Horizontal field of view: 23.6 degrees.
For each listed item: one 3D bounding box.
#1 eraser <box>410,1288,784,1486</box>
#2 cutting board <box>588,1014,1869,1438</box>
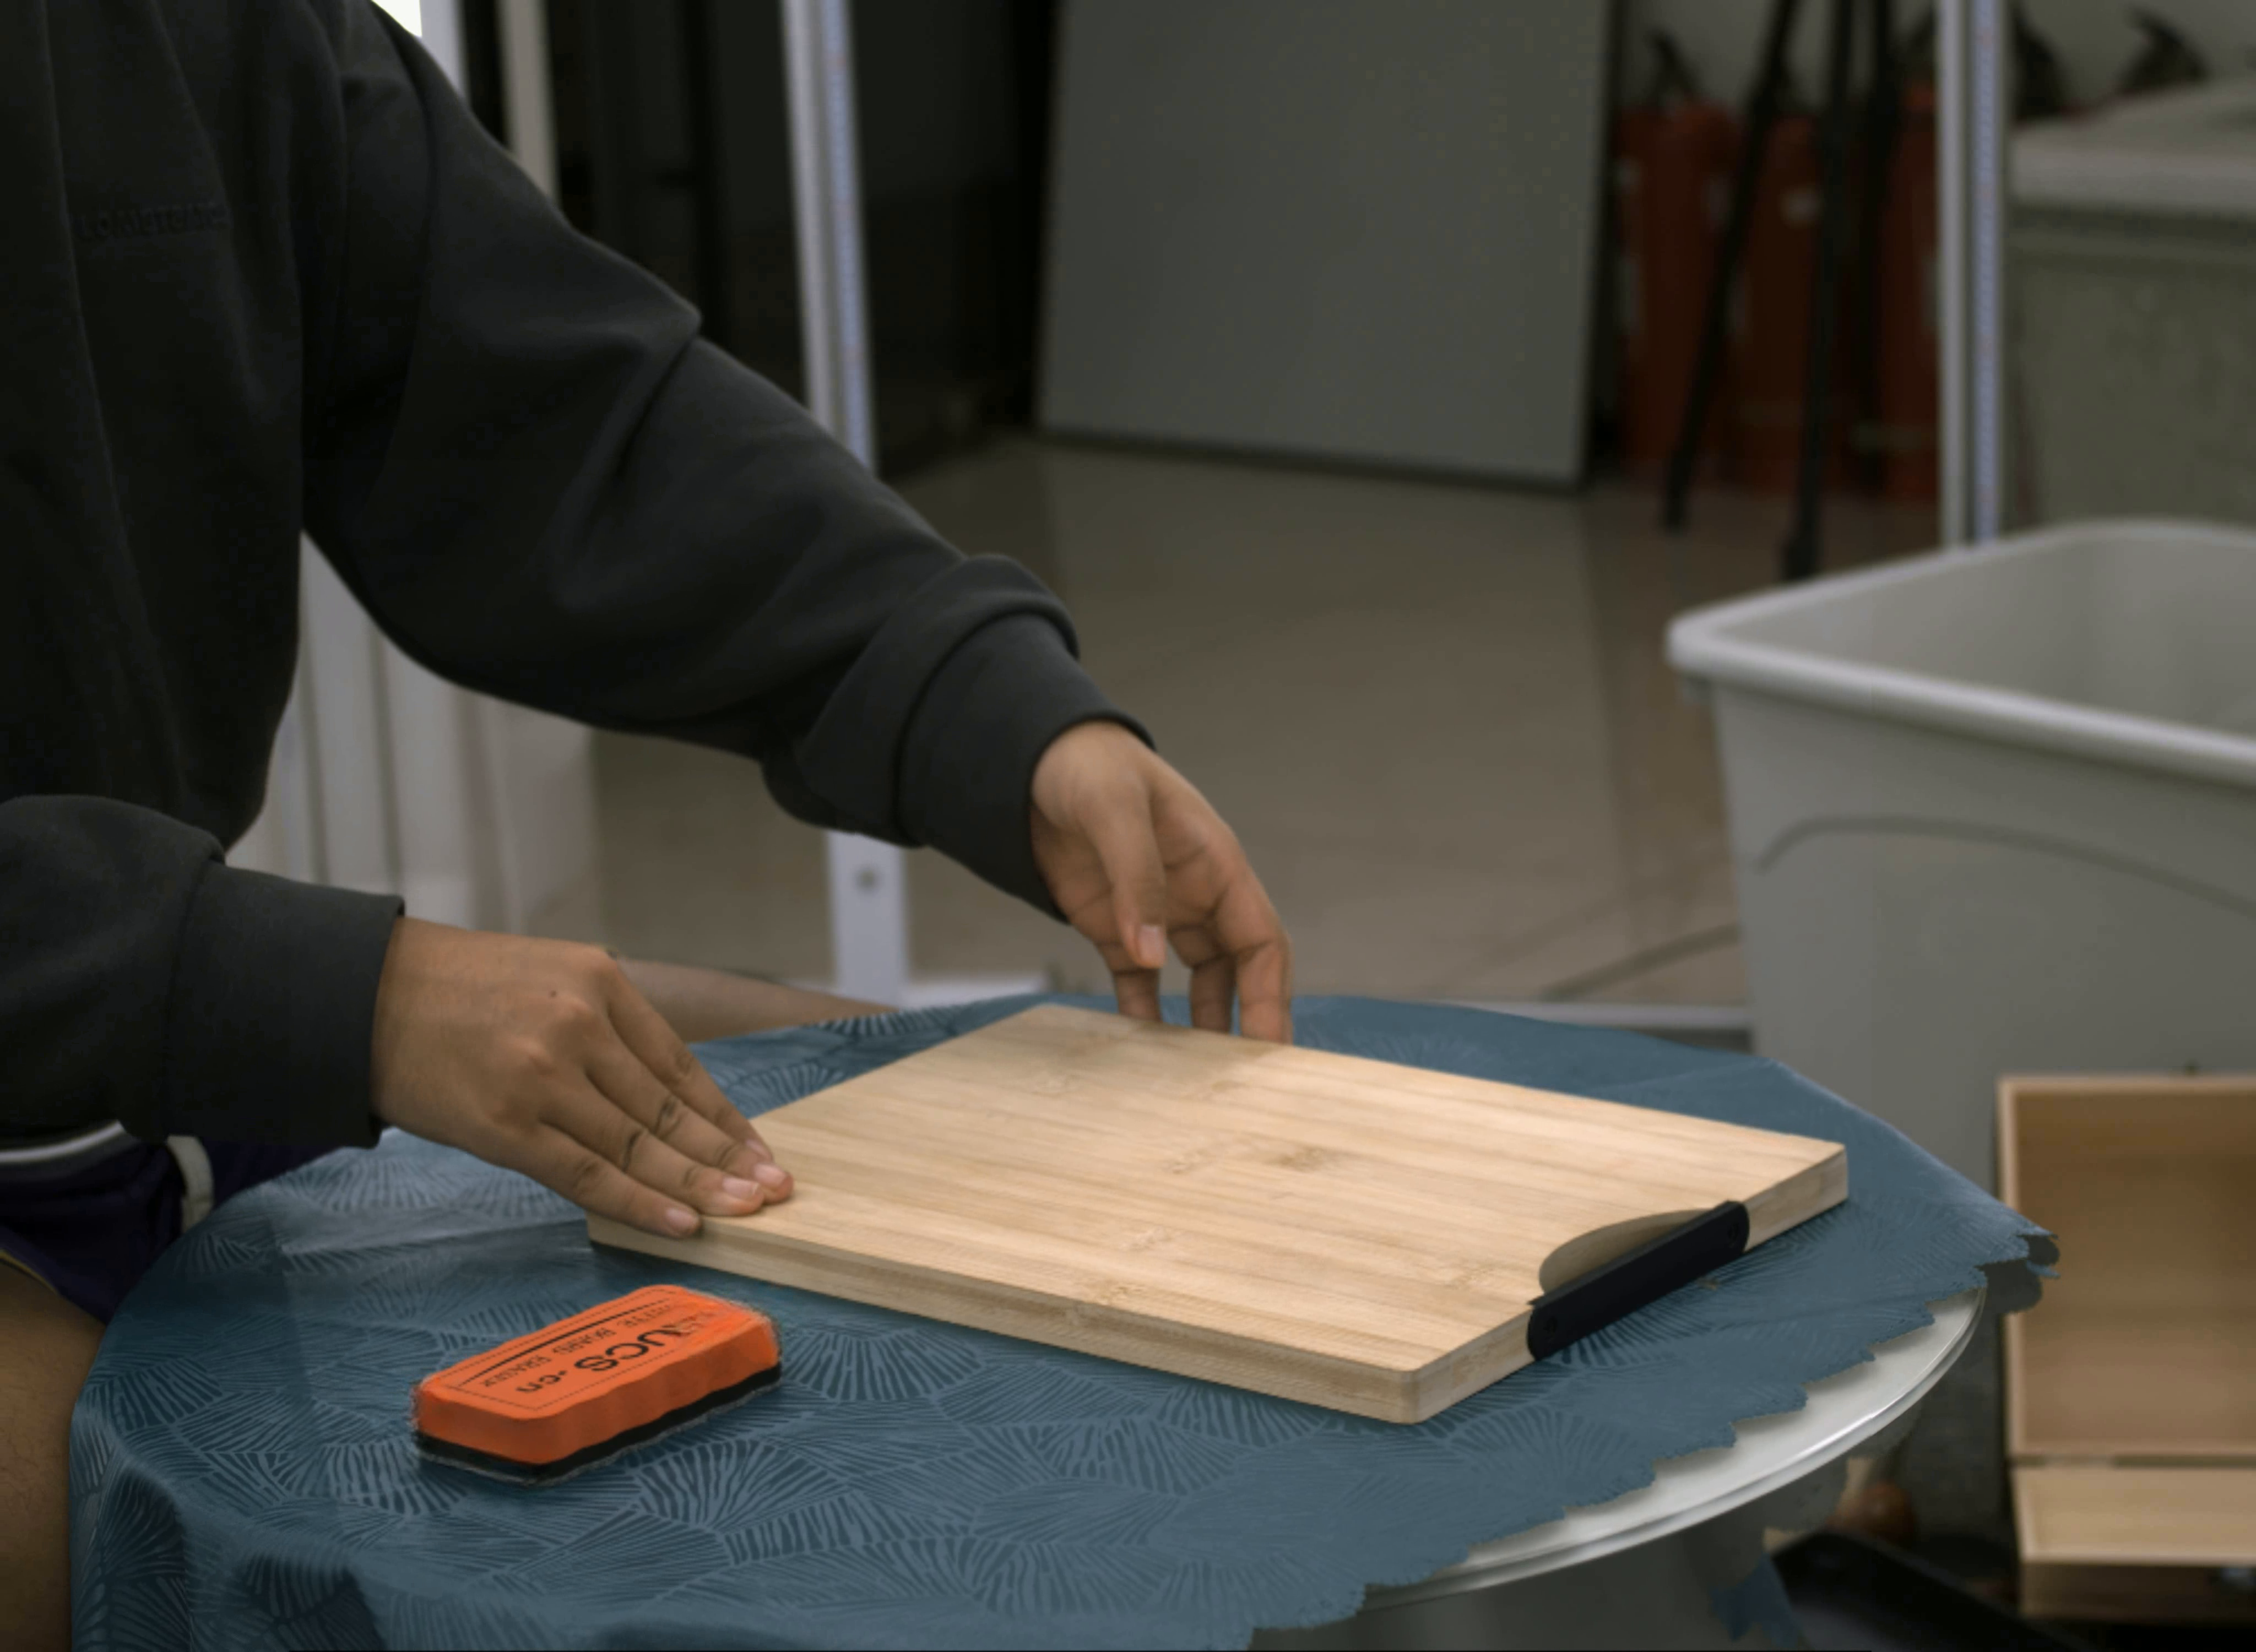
[{"bbox_3d":[-0.155,0.164,1.587,0.059,0.023,0.106,8,17,41],"label":"eraser"},{"bbox_3d":[0.031,0.120,1.728,0.351,0.024,0.246,7,18,39],"label":"cutting board"}]
